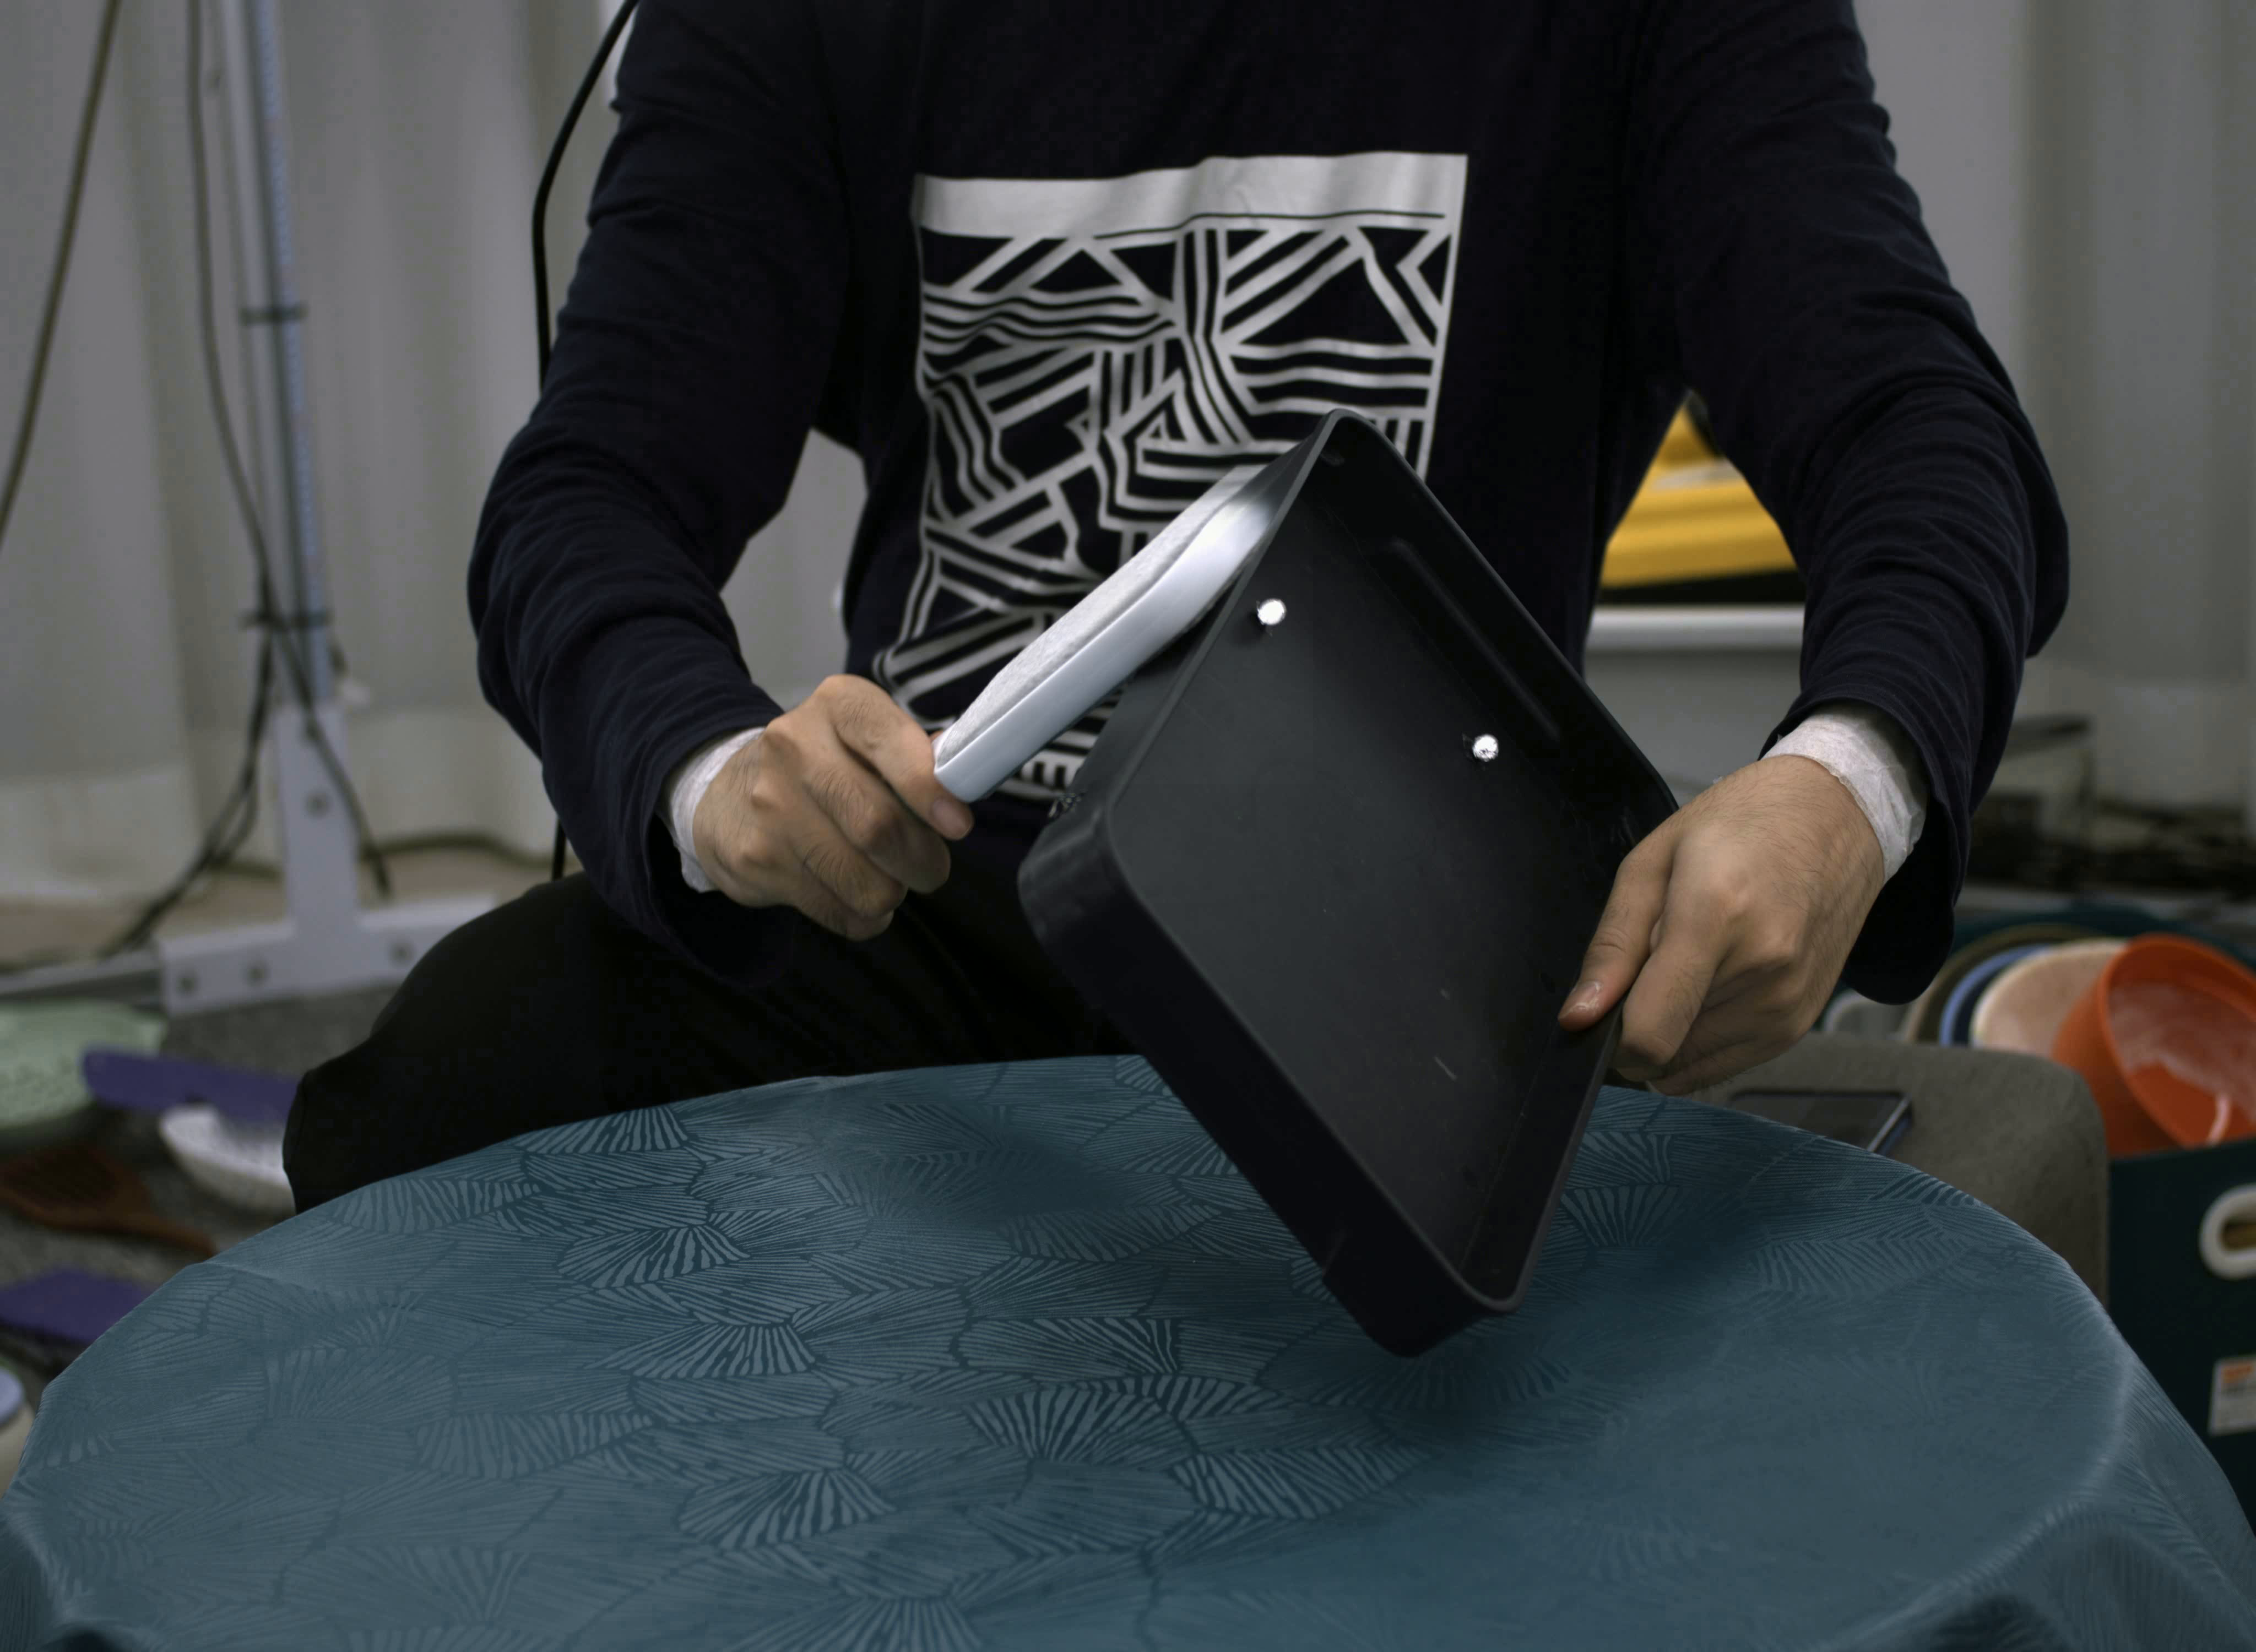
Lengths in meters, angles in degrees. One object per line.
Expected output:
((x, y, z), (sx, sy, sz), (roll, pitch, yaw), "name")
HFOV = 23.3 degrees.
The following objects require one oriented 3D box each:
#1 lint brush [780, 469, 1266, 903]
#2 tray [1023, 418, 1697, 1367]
((-0.038, -0.036, 1.676), (0.307, 0.021, 0.060), (-37, 20, 56), "lint brush")
((0.075, 0.011, 1.594), (0.037, 0.183, 0.320), (-34, 12, 28), "tray")
